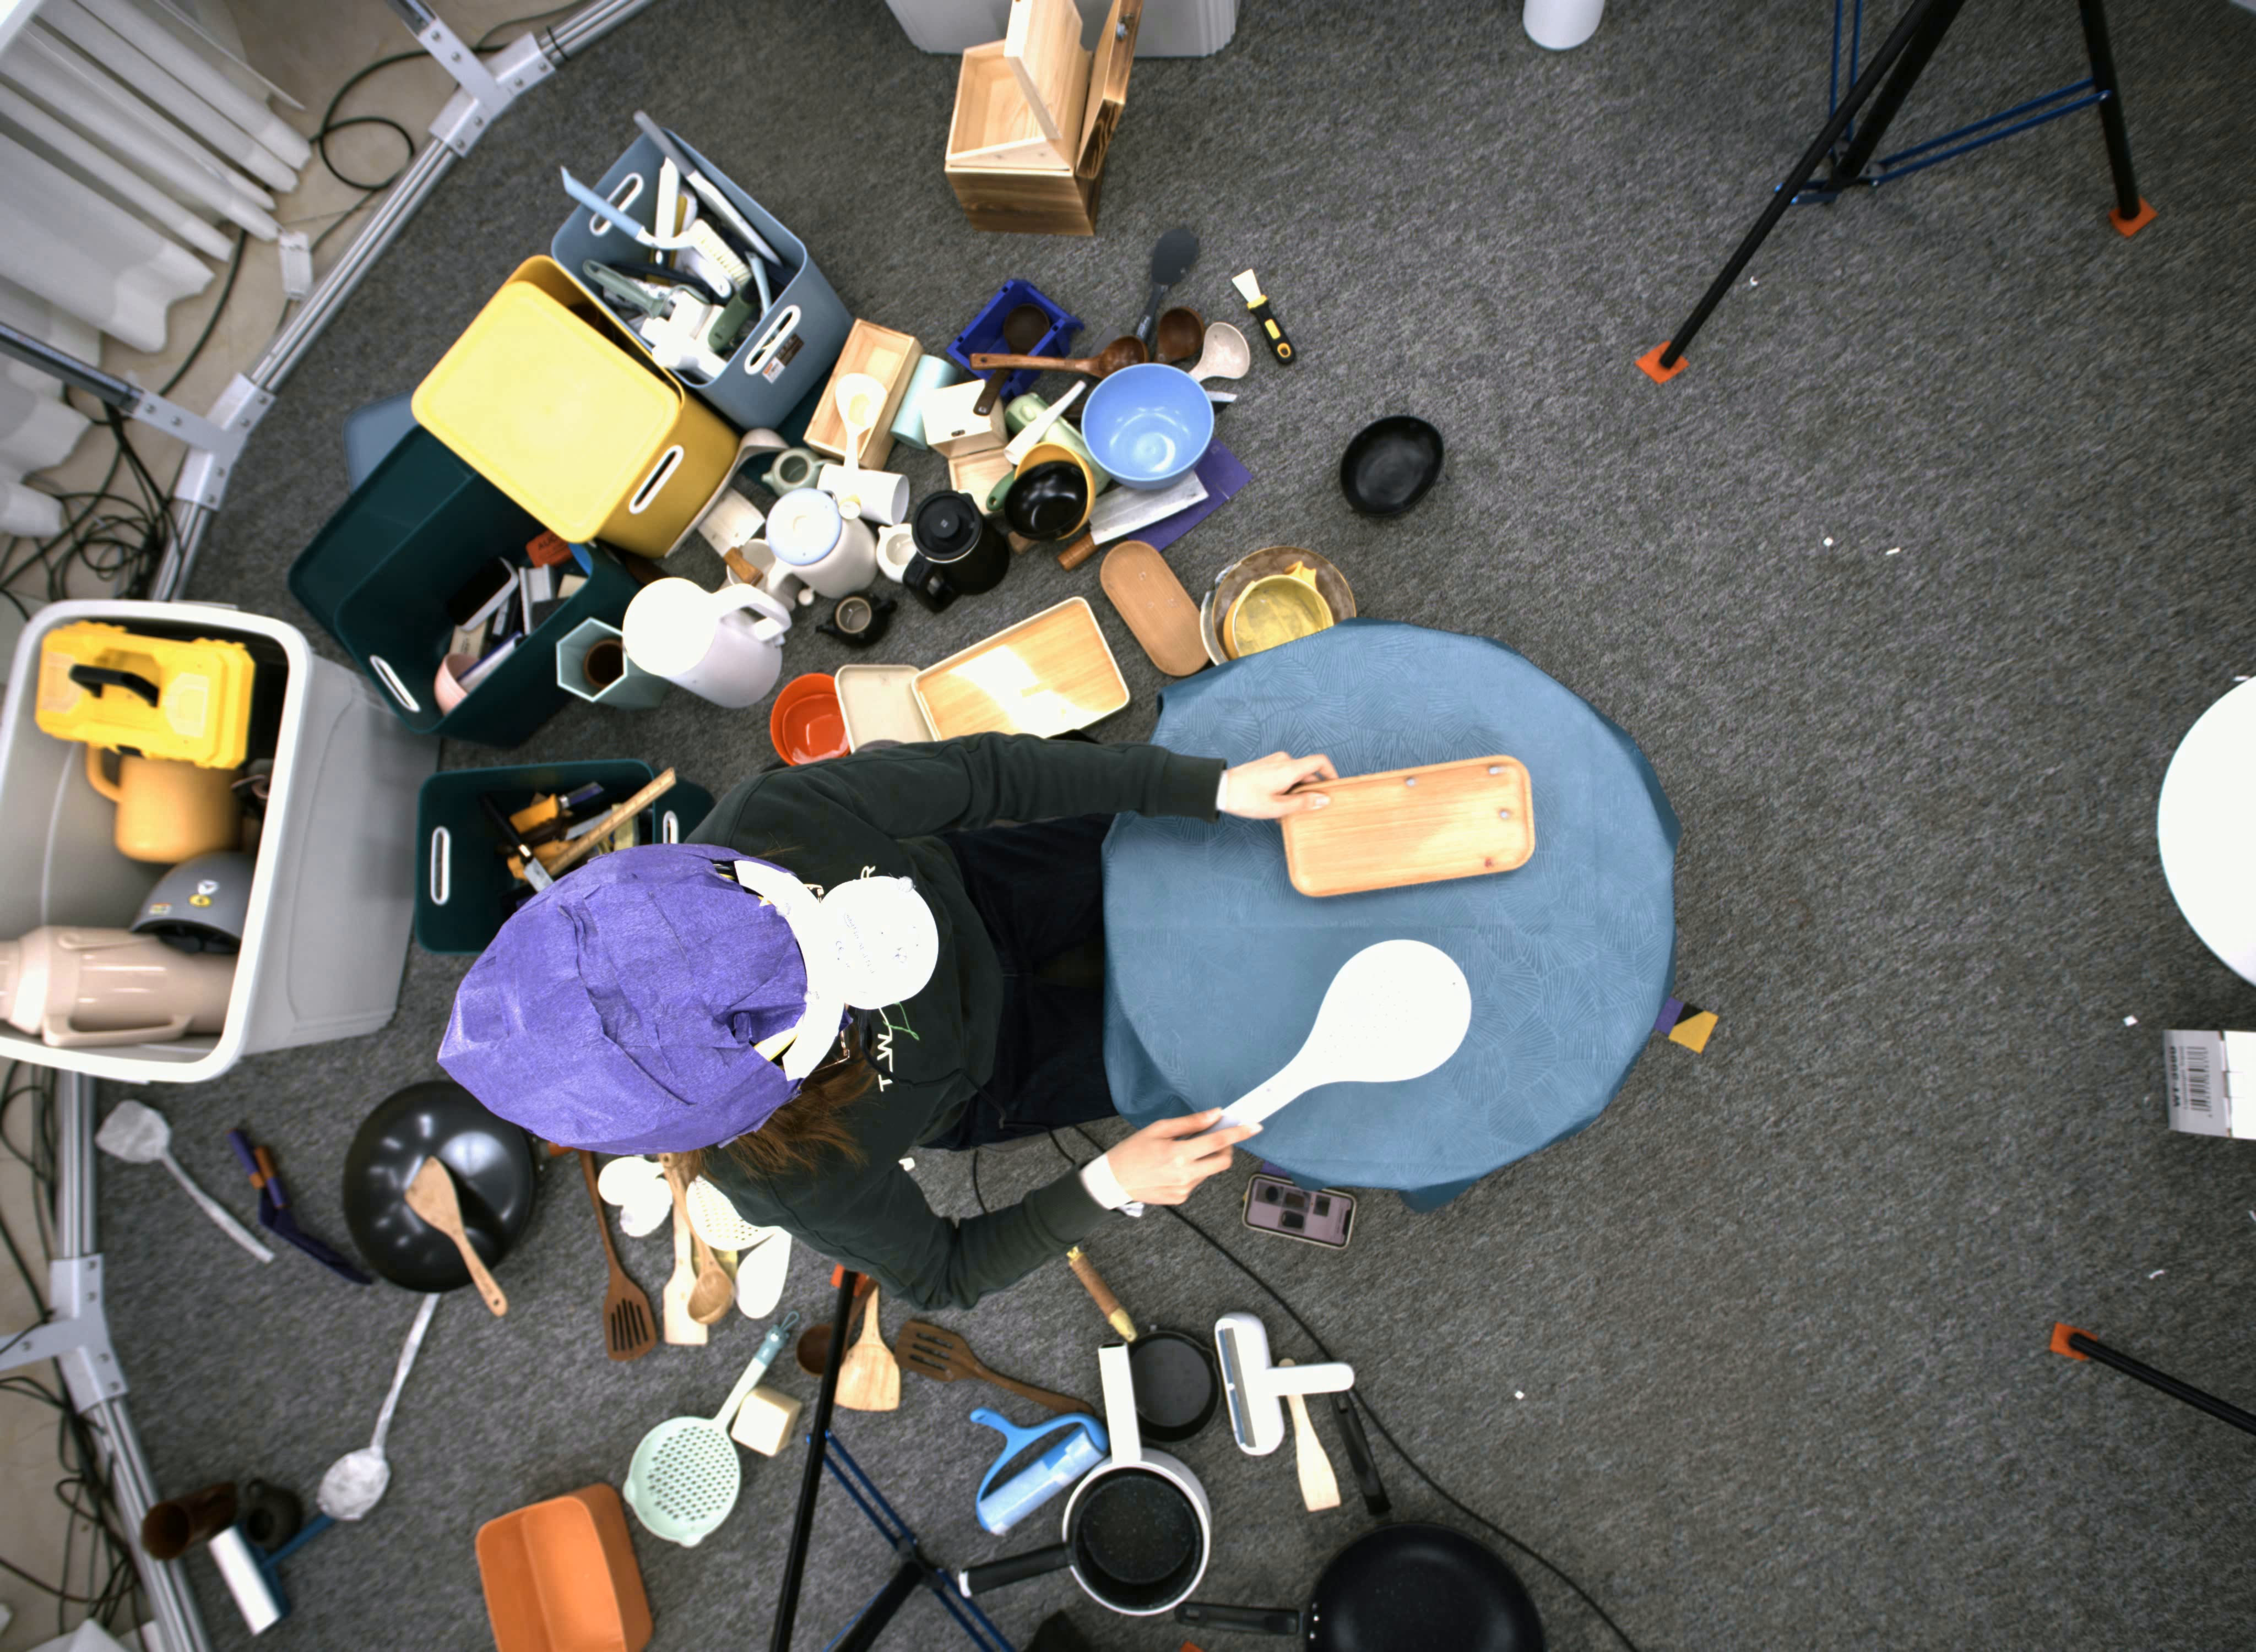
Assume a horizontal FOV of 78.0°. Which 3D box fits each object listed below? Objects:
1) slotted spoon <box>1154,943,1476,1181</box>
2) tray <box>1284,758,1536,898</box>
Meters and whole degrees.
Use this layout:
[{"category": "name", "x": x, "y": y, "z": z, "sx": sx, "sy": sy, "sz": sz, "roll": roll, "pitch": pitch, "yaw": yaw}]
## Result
[{"category": "slotted spoon", "x": 0.174, "y": 0.236, "z": 1.321, "sx": 0.351, "sy": 0.046, "sz": 0.133, "roll": -32, "pitch": 56, "yaw": 5}, {"category": "tray", "x": 0.289, "y": 0.001, "z": 1.409, "sx": 0.252, "sy": 0.022, "sz": 0.133, "roll": -7, "pitch": 114, "yaw": 8}]
